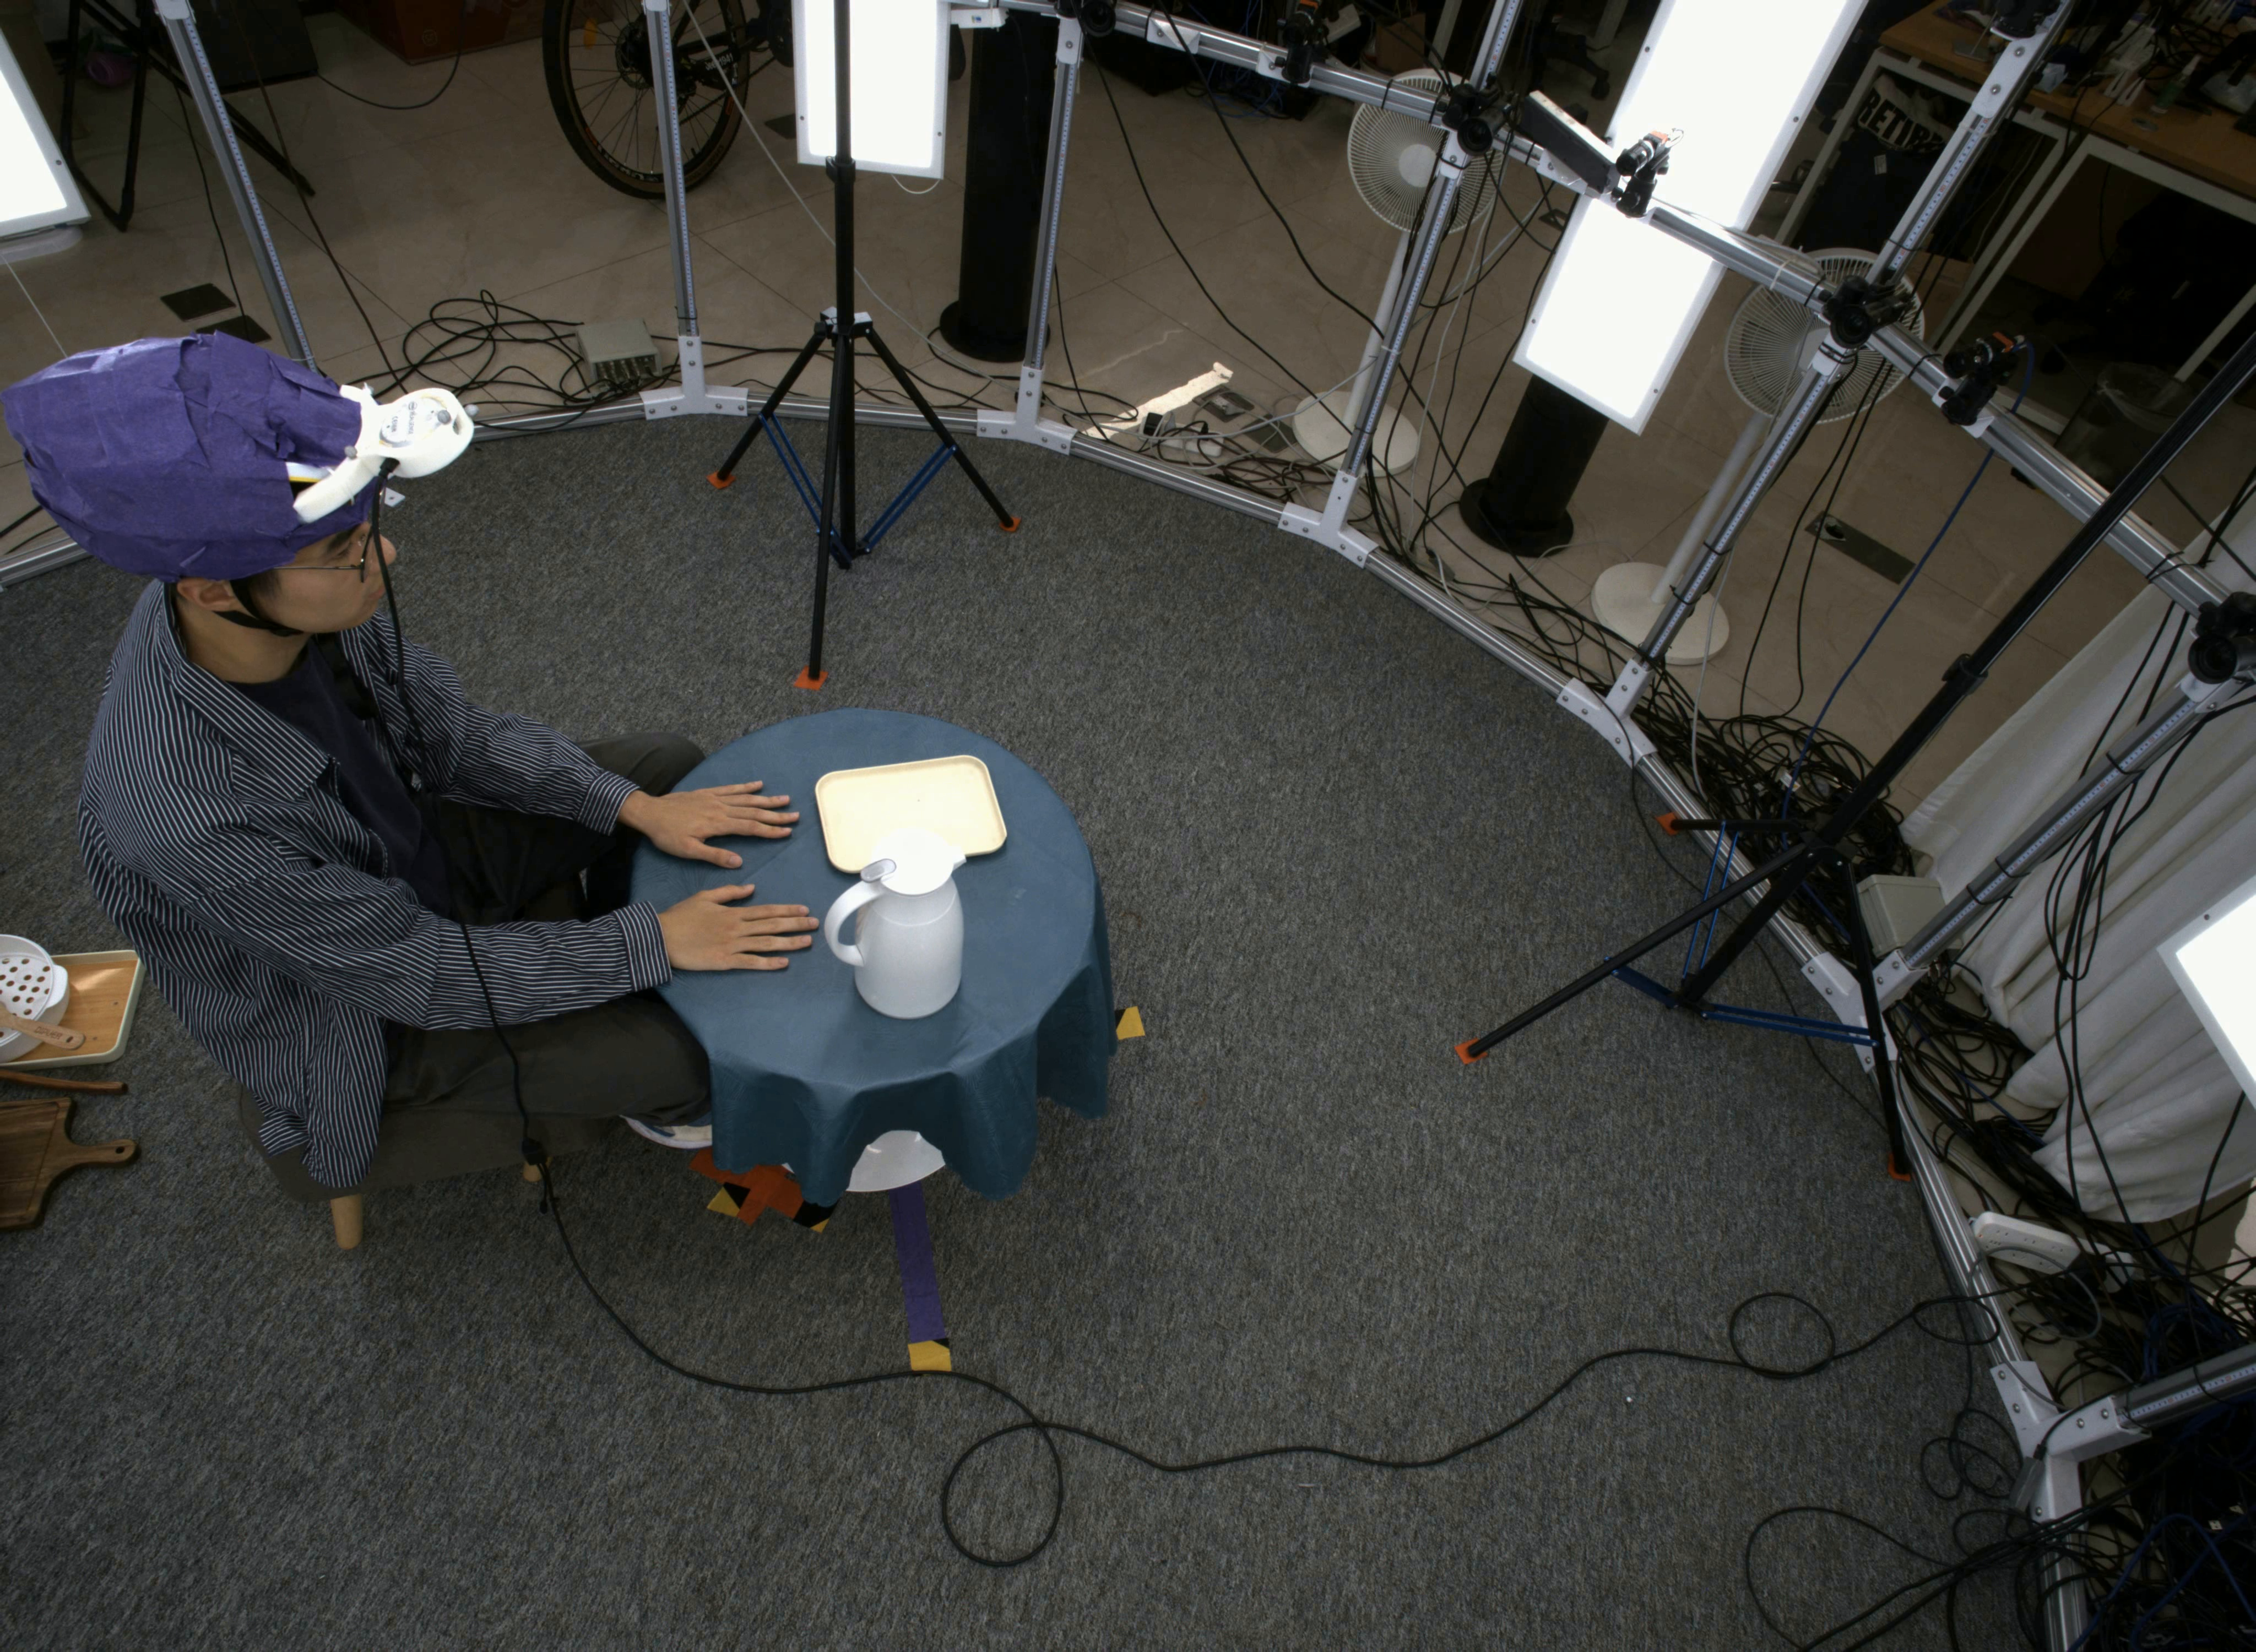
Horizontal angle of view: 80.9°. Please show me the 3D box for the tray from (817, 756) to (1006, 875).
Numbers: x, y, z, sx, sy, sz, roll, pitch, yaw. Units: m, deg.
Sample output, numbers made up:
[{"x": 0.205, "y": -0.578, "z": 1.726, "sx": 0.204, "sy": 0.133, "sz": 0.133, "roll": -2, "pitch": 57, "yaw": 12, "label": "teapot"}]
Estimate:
[{"x": -0.294, "y": -0.016, "z": 1.772, "sx": 0.240, "sy": 0.018, "sz": 0.167, "roll": -9, "pitch": 56, "yaw": -19, "label": "tray"}]

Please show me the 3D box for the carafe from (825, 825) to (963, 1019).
[{"x": -0.274, "y": 0.114, "z": 1.530, "sx": 0.168, "sy": 0.254, "sz": 0.129, "roll": -25, "pitch": 62, "yaw": -26, "label": "carafe"}]
